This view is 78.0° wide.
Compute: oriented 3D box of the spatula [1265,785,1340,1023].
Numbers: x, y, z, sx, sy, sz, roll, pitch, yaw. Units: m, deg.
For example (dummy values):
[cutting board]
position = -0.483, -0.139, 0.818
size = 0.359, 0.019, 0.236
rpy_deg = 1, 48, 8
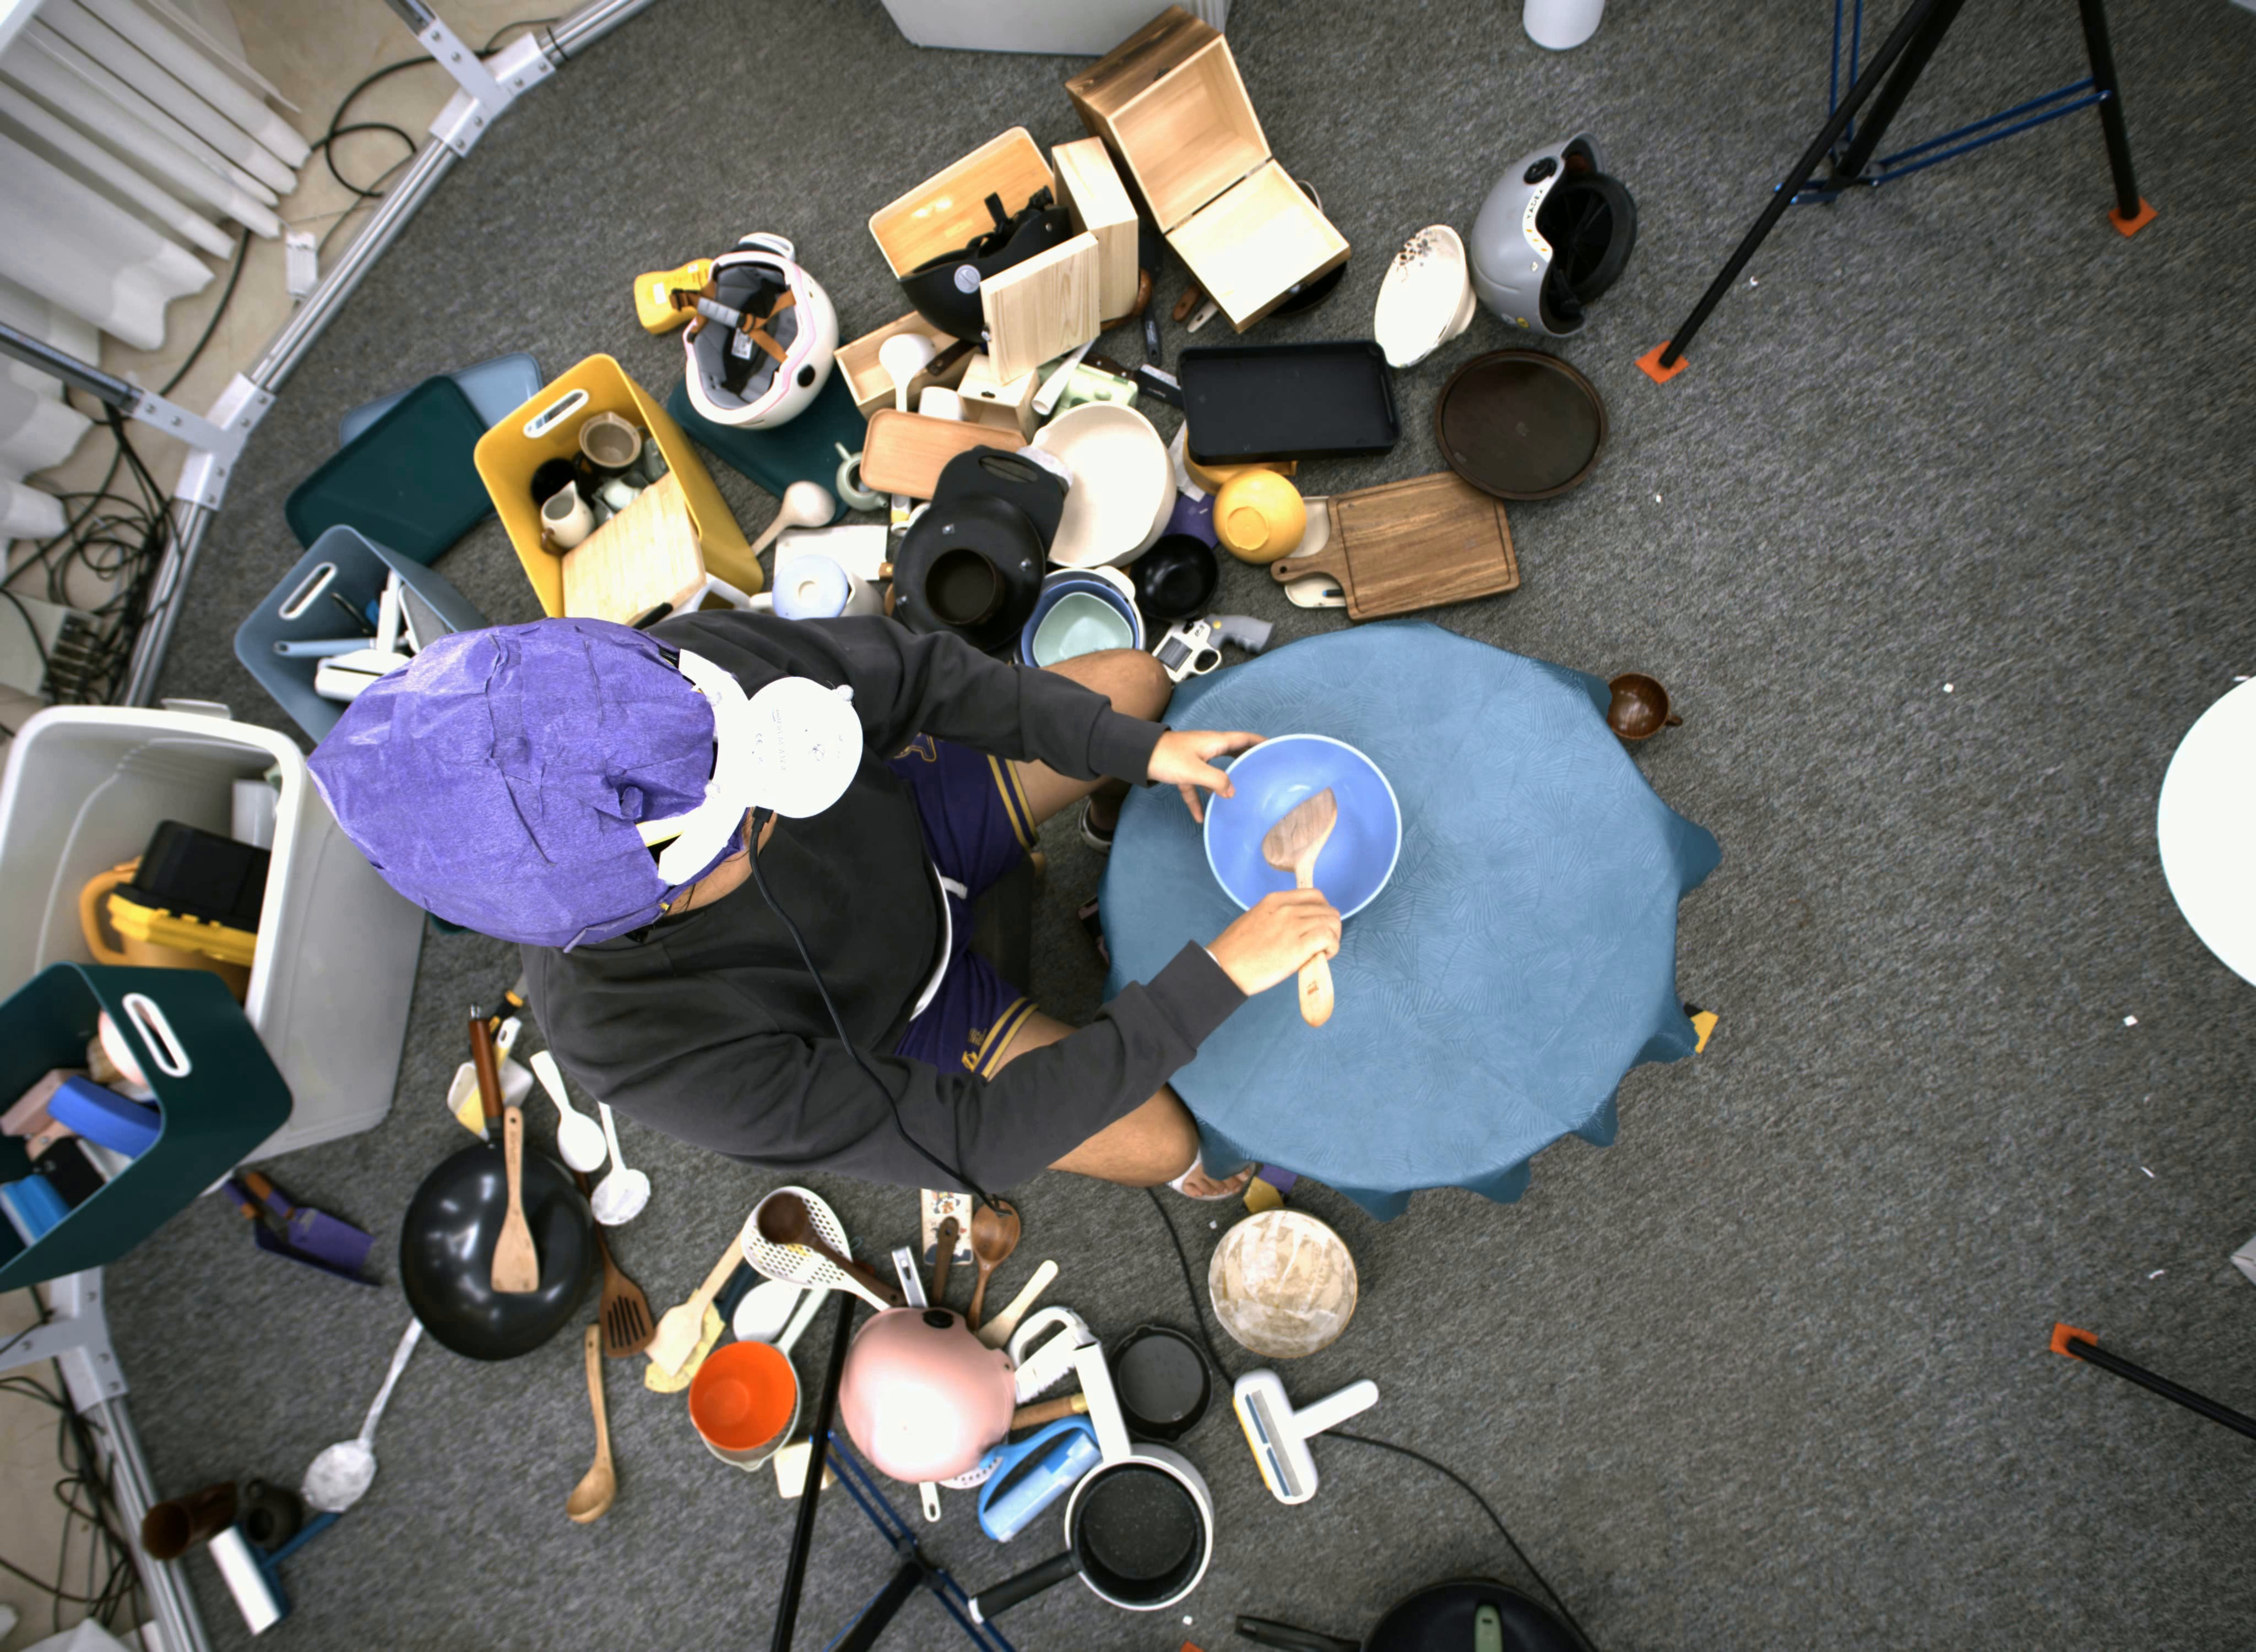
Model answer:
[spatula]
position = 0.168, 0.065, 1.267
size = 0.018, 0.382, 0.097
rpy_deg = 43, 111, -14

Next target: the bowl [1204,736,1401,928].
[bowl]
position = 0.175, -0.002, 1.419
size = 0.197, 0.094, 0.198
rpy_deg = 1, 104, 3
